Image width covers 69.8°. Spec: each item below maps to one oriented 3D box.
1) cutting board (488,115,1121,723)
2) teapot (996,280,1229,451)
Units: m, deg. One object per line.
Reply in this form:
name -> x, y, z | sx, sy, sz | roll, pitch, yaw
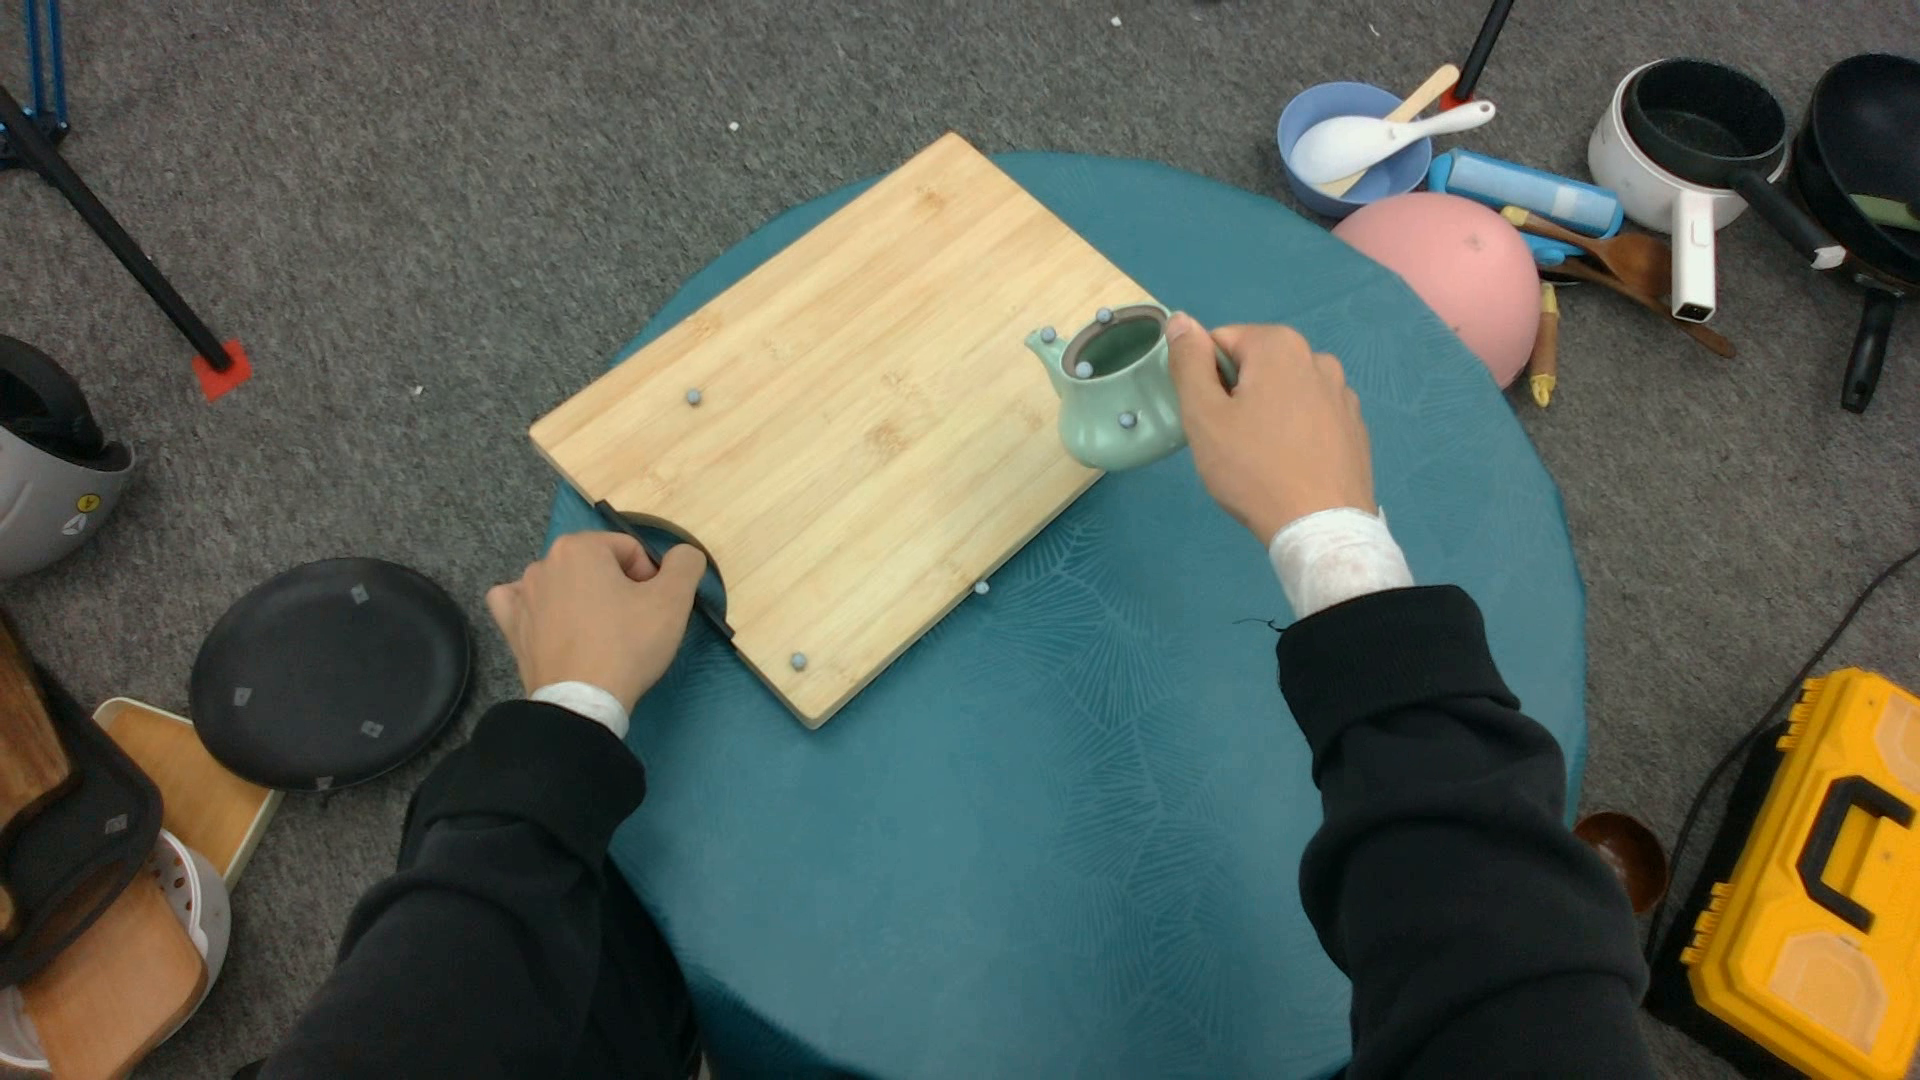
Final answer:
cutting board -> -0.060, -0.090, 0.815 | 0.251, 0.023, 0.350 | 41, 67, 14
teapot -> 0.081, -0.090, 0.693 | 0.136, 0.061, 0.096 | 9, 53, 47
